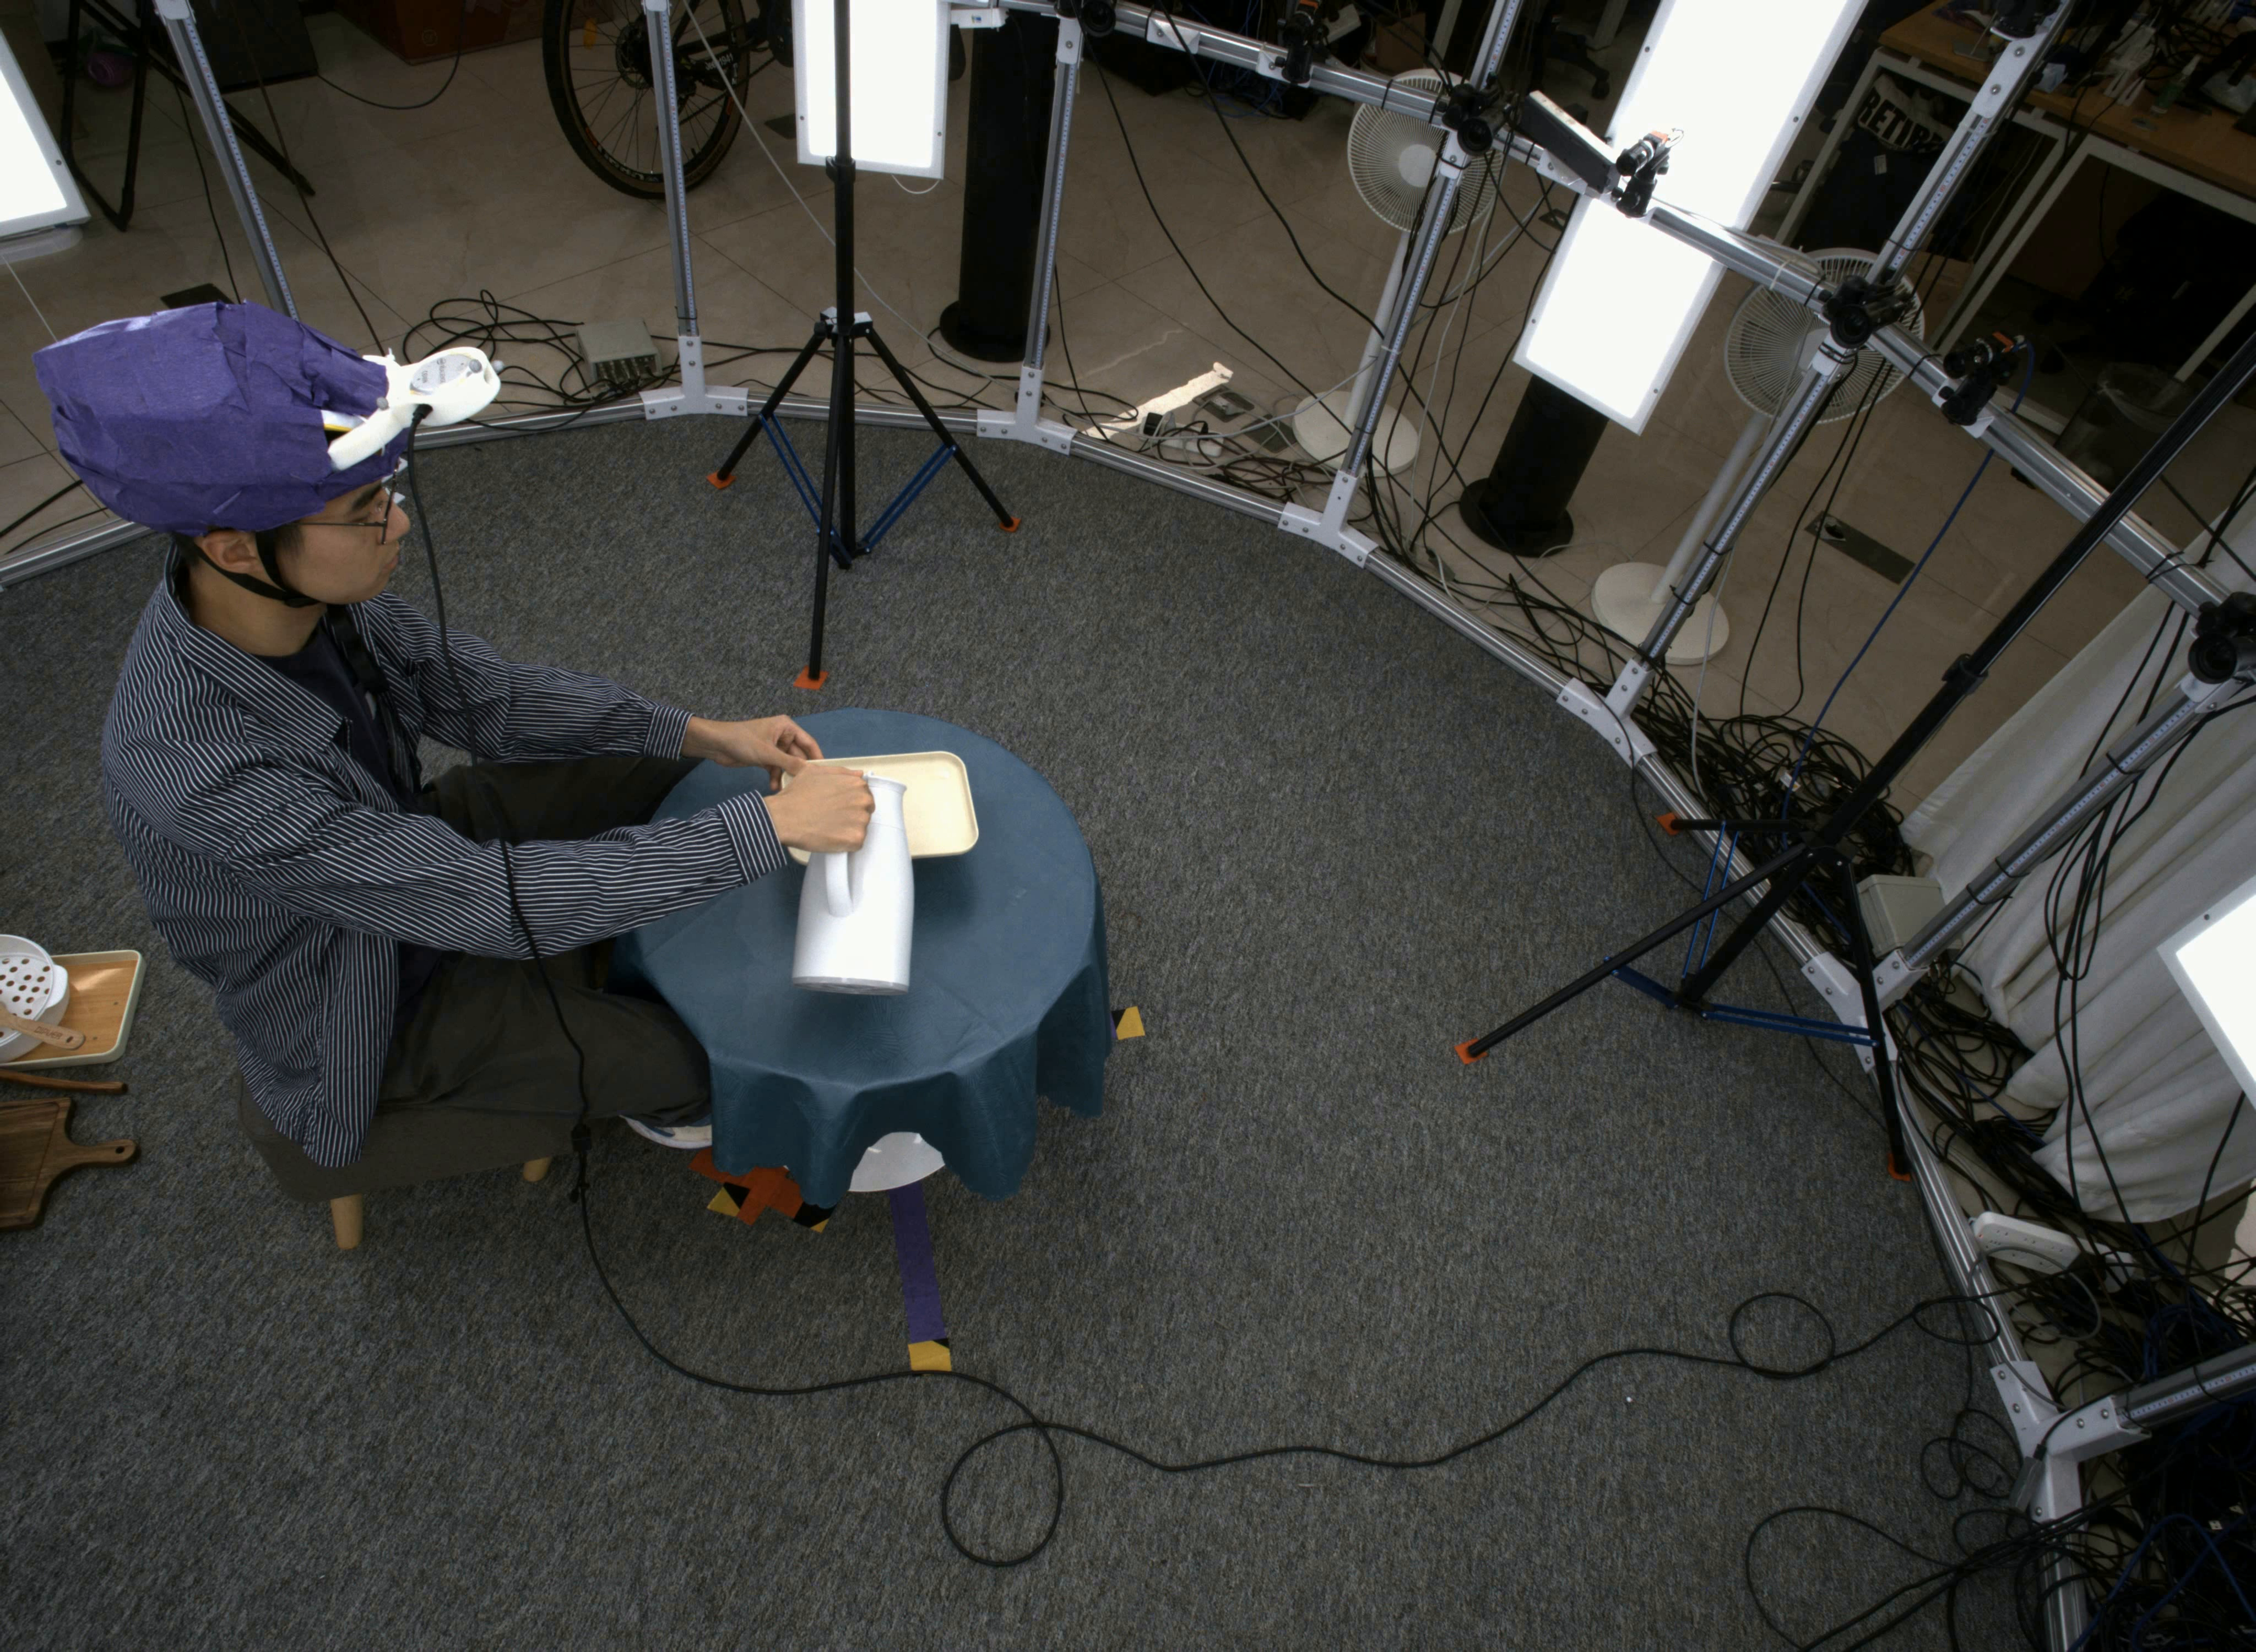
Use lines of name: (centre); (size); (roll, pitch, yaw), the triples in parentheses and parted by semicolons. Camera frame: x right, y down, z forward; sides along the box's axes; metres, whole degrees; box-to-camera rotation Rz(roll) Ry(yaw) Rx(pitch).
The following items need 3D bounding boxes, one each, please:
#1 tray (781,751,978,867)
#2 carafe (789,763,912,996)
tray: (-0.320, -0.023, 1.672); (0.240, 0.018, 0.167); (-5, 54, -17)
carafe: (-0.312, 0.057, 1.483); (0.131, 0.169, 0.249); (3, 78, -1)
